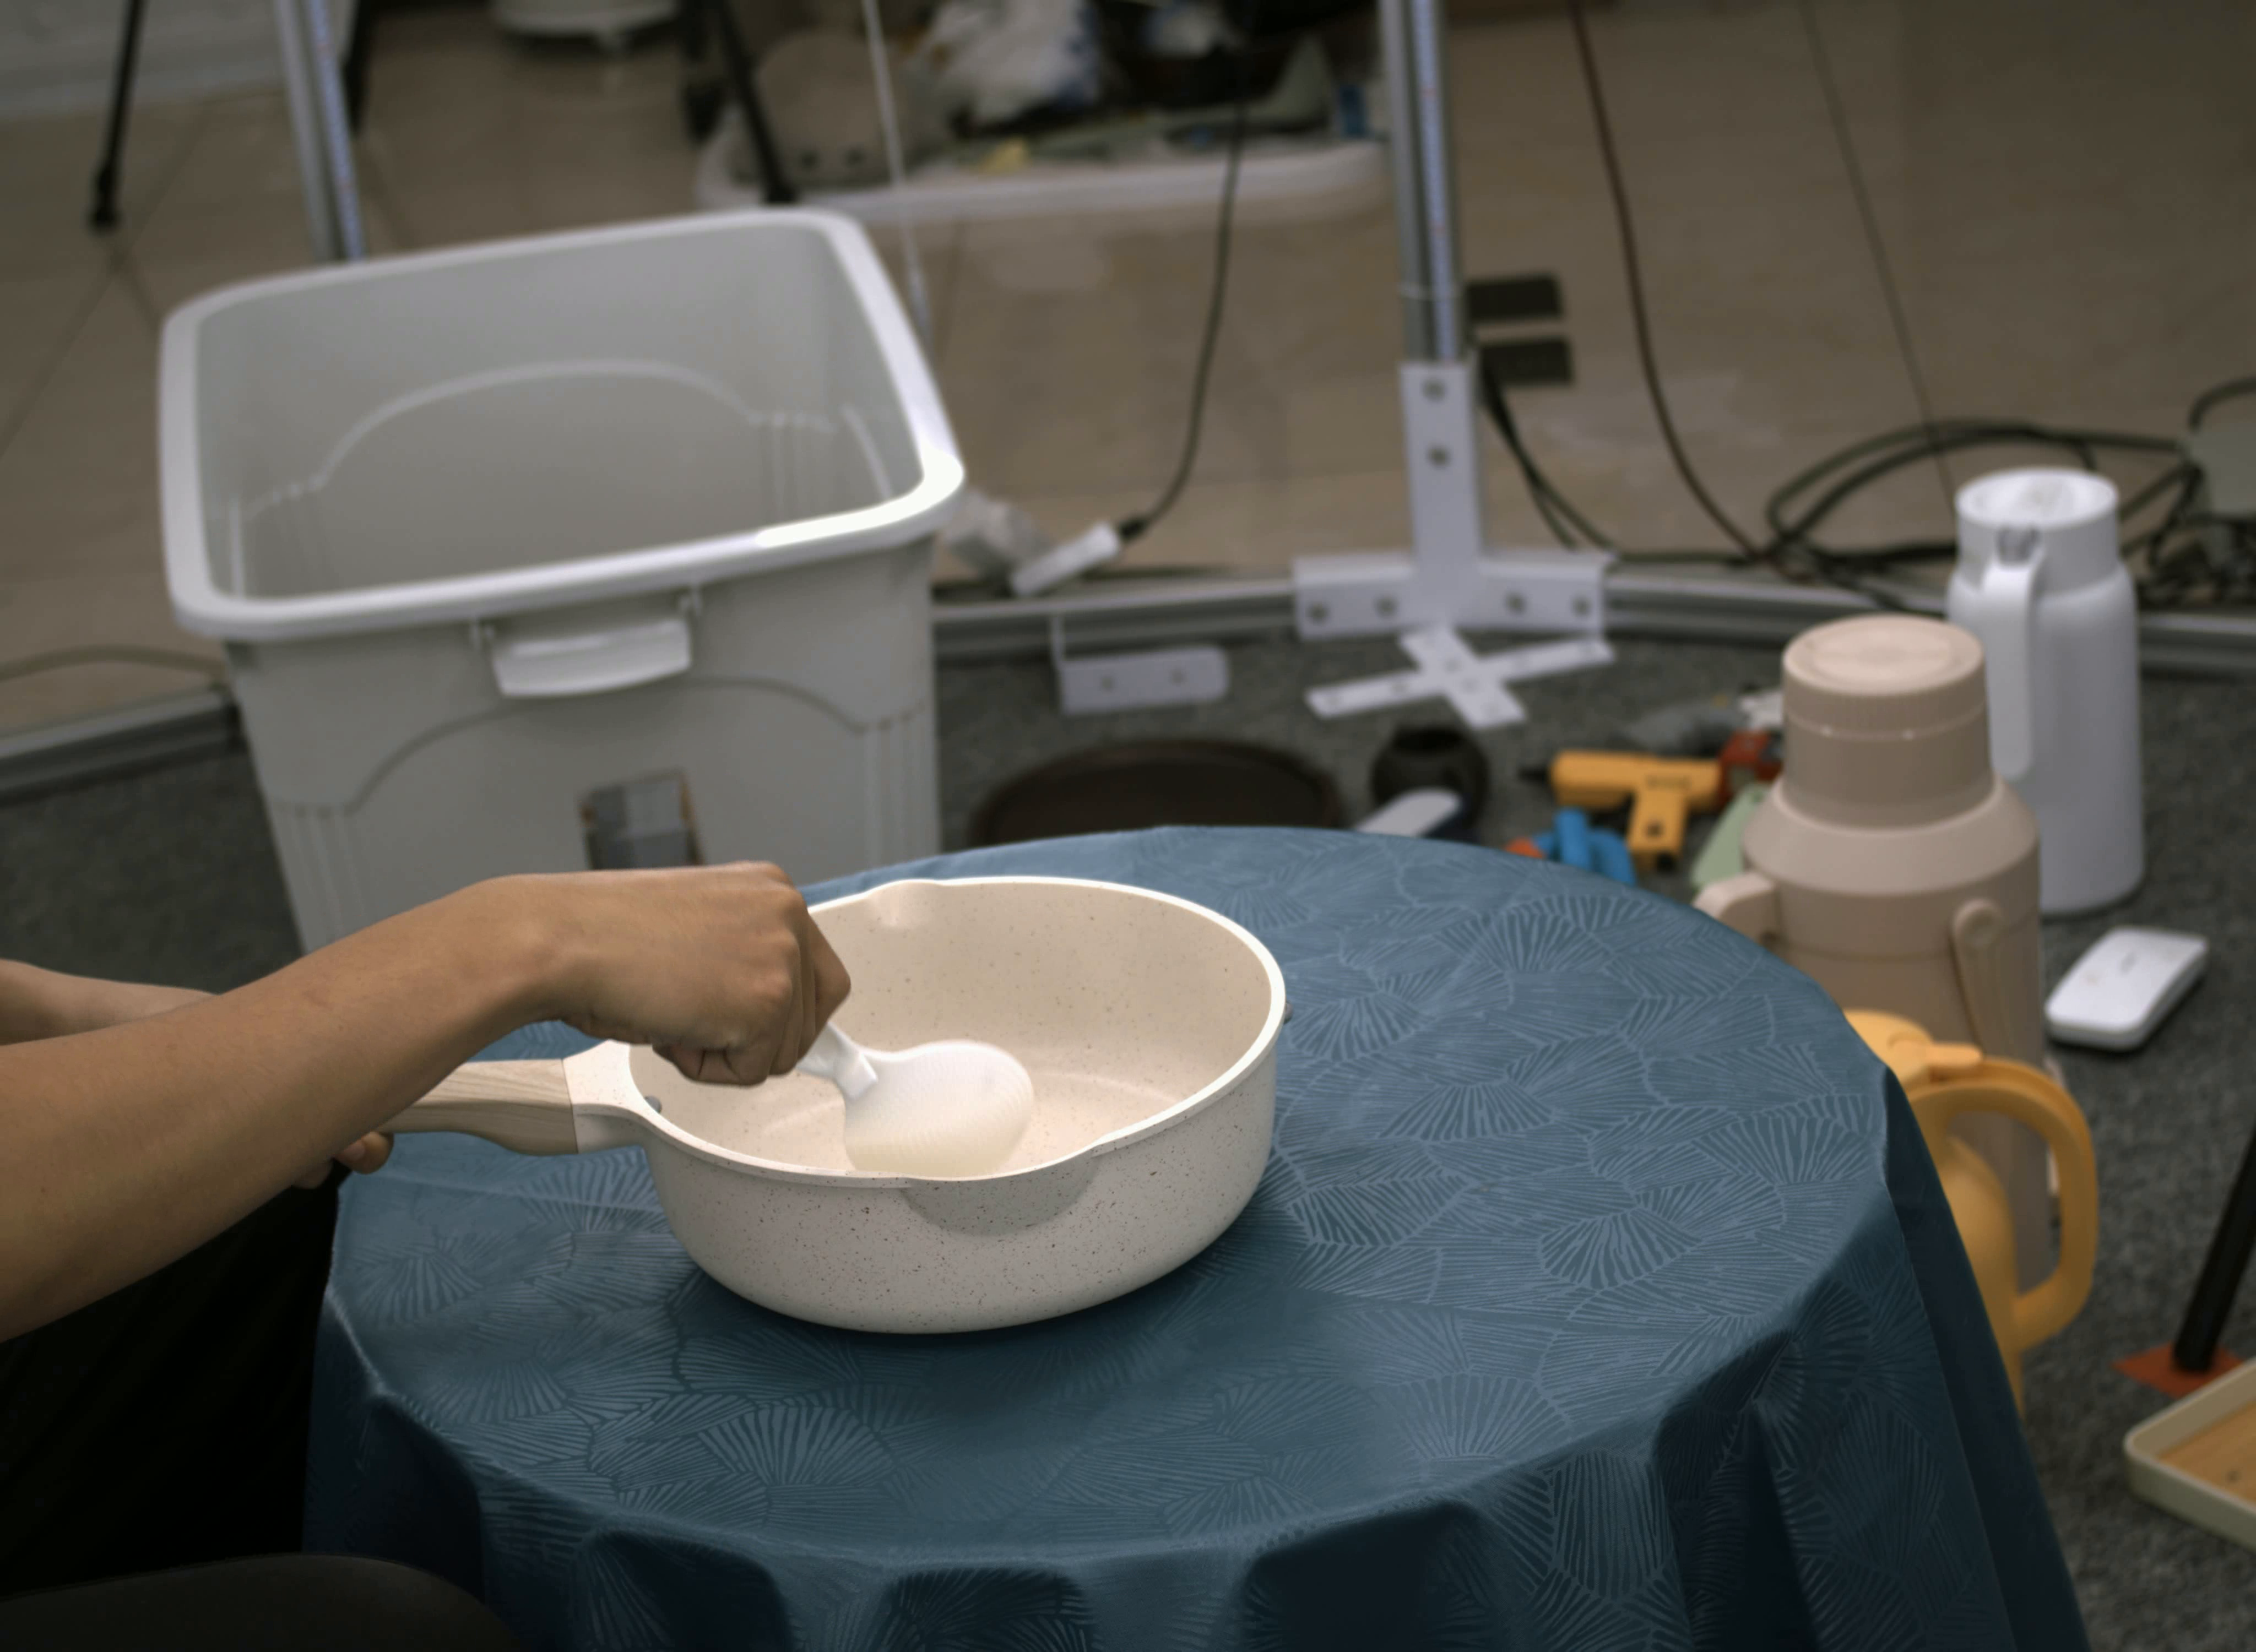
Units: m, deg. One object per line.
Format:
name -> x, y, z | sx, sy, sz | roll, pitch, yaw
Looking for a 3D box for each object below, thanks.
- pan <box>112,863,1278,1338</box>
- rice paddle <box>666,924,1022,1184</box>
pan -> -0.155, 0.116, 2.123 | 0.434, 0.104, 0.259 | -10, 27, -7
rice paddle -> -0.098, 0.082, 2.008 | 0.069, 0.207, 0.029 | -46, 56, 6
